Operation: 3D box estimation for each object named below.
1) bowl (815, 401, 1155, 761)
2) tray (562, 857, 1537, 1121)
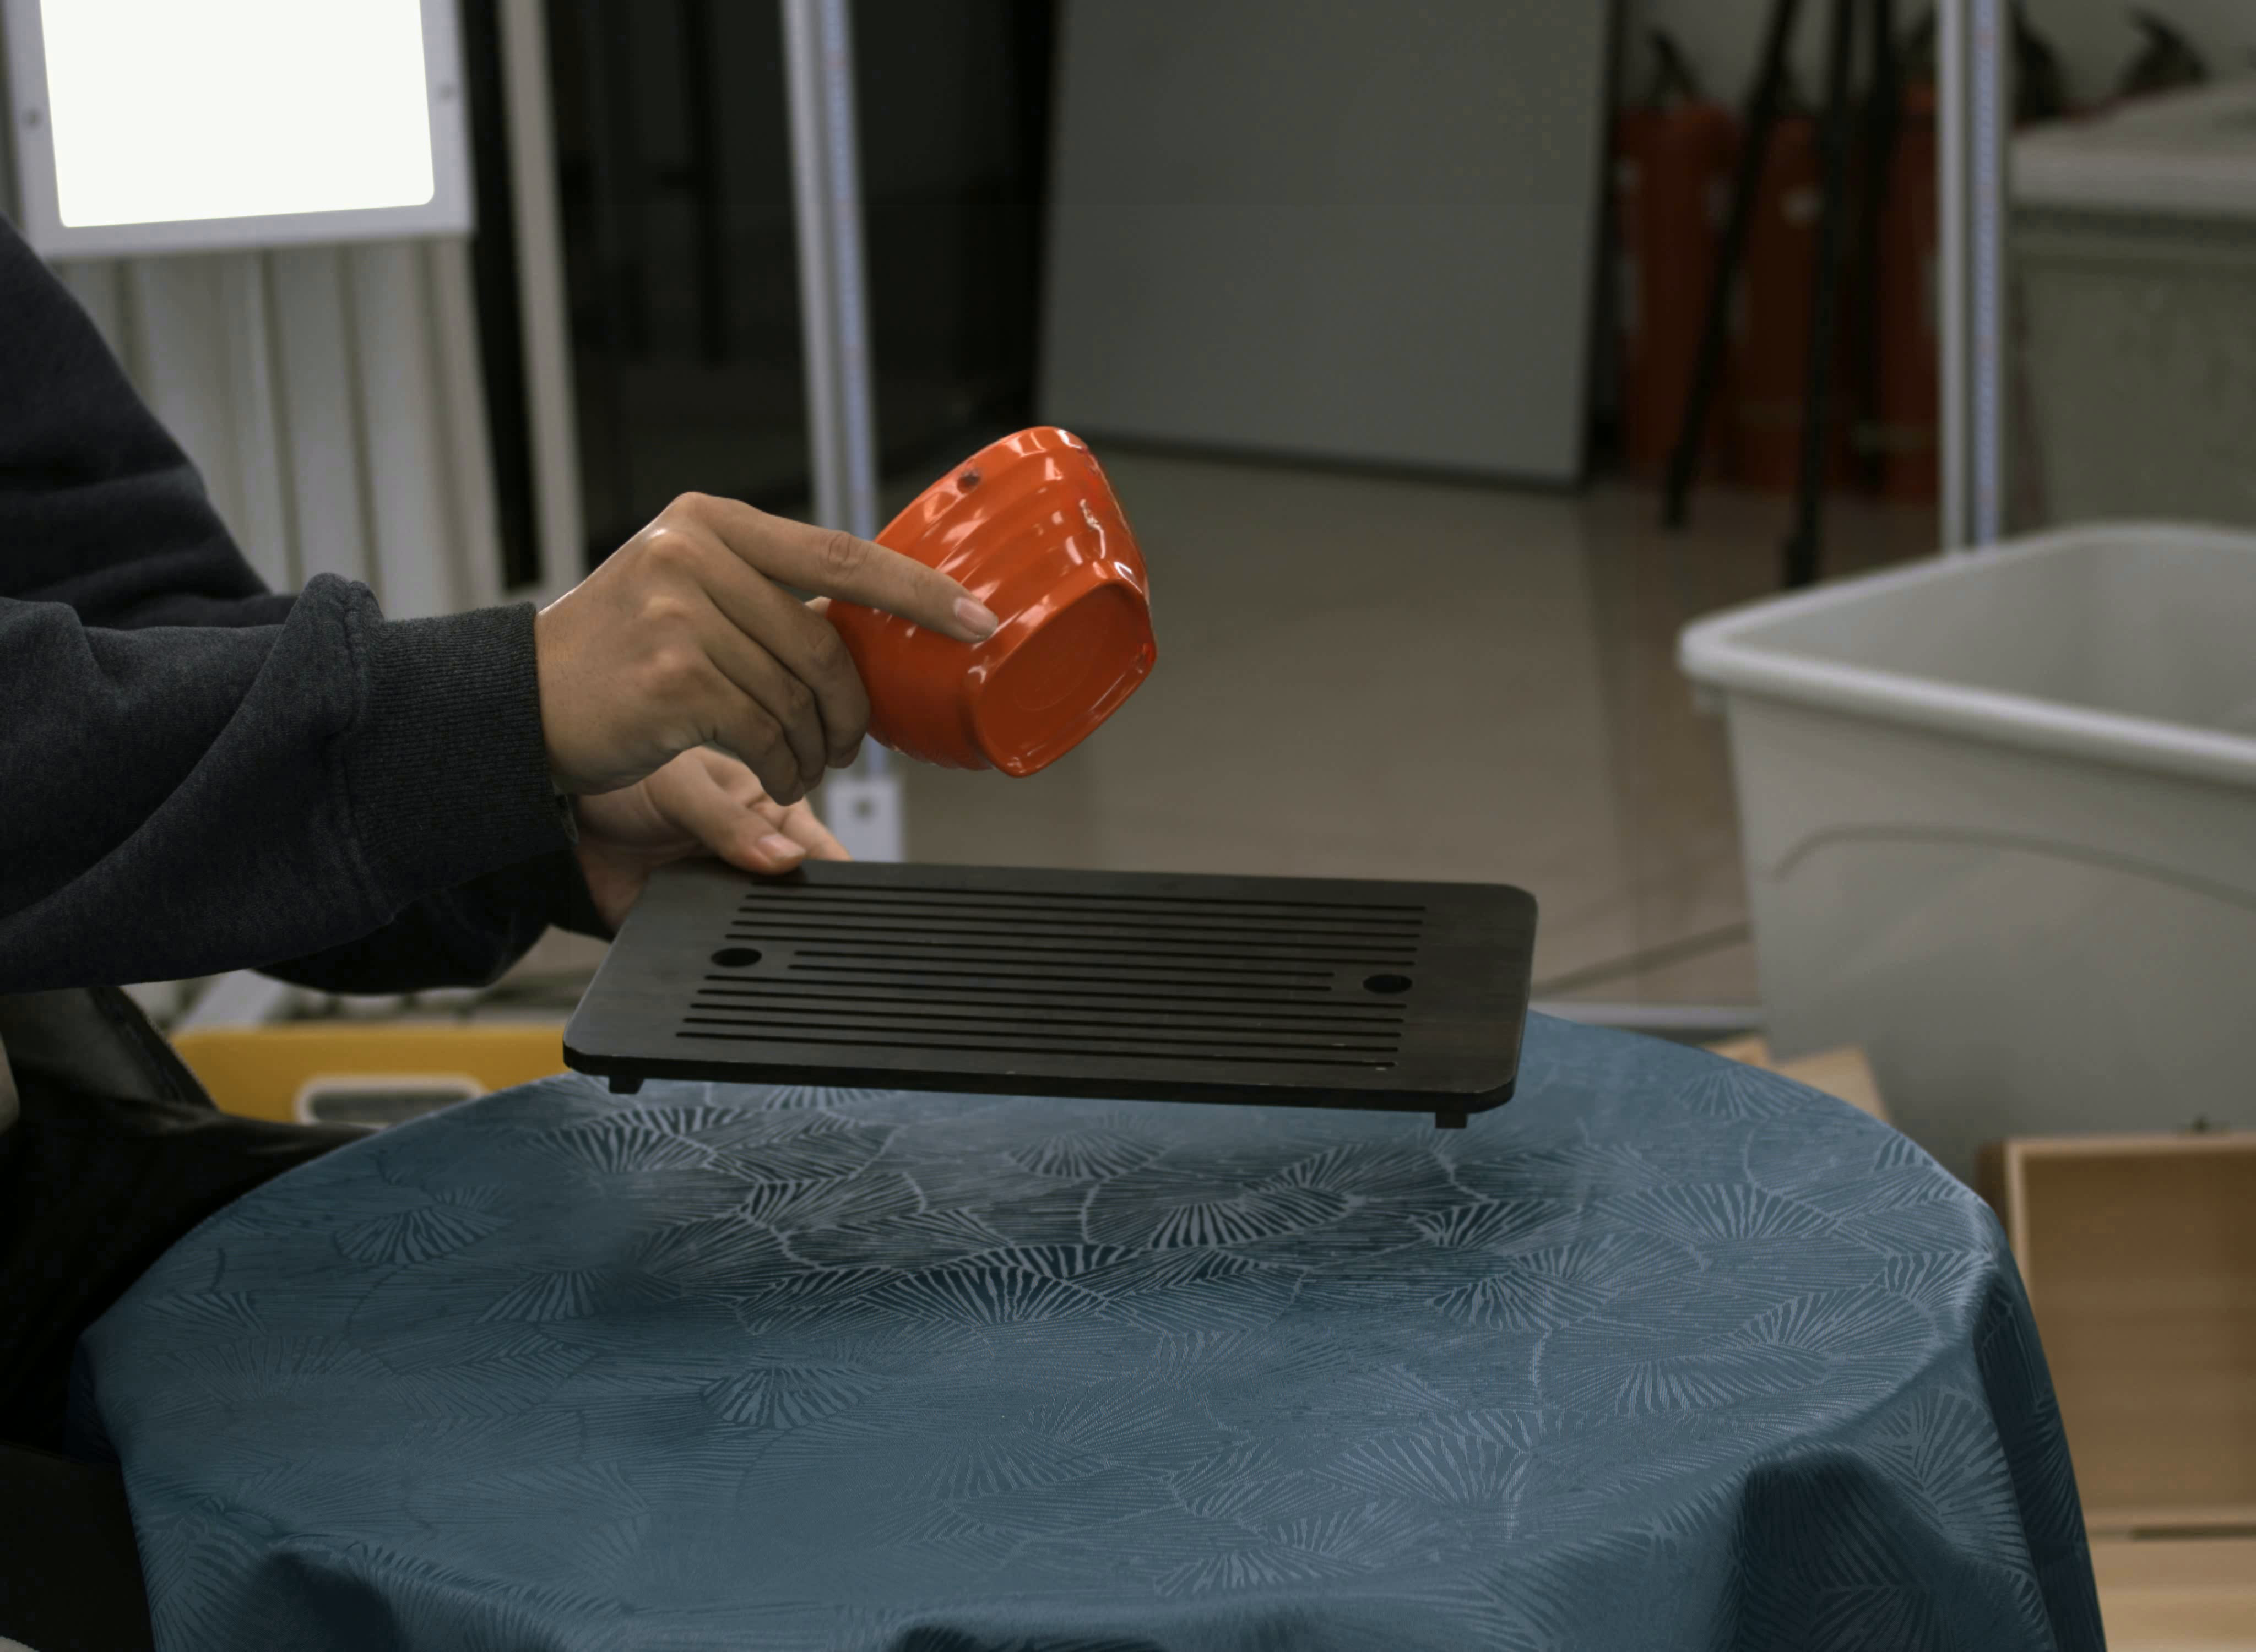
[{"bbox_3d":[-0.034,-0.064,1.620,0.116,0.120,0.052,-15,50,-41],"label":"bowl"},{"bbox_3d":[-0.021,0.052,1.755,0.303,0.019,0.170,1,21,9],"label":"tray"}]
